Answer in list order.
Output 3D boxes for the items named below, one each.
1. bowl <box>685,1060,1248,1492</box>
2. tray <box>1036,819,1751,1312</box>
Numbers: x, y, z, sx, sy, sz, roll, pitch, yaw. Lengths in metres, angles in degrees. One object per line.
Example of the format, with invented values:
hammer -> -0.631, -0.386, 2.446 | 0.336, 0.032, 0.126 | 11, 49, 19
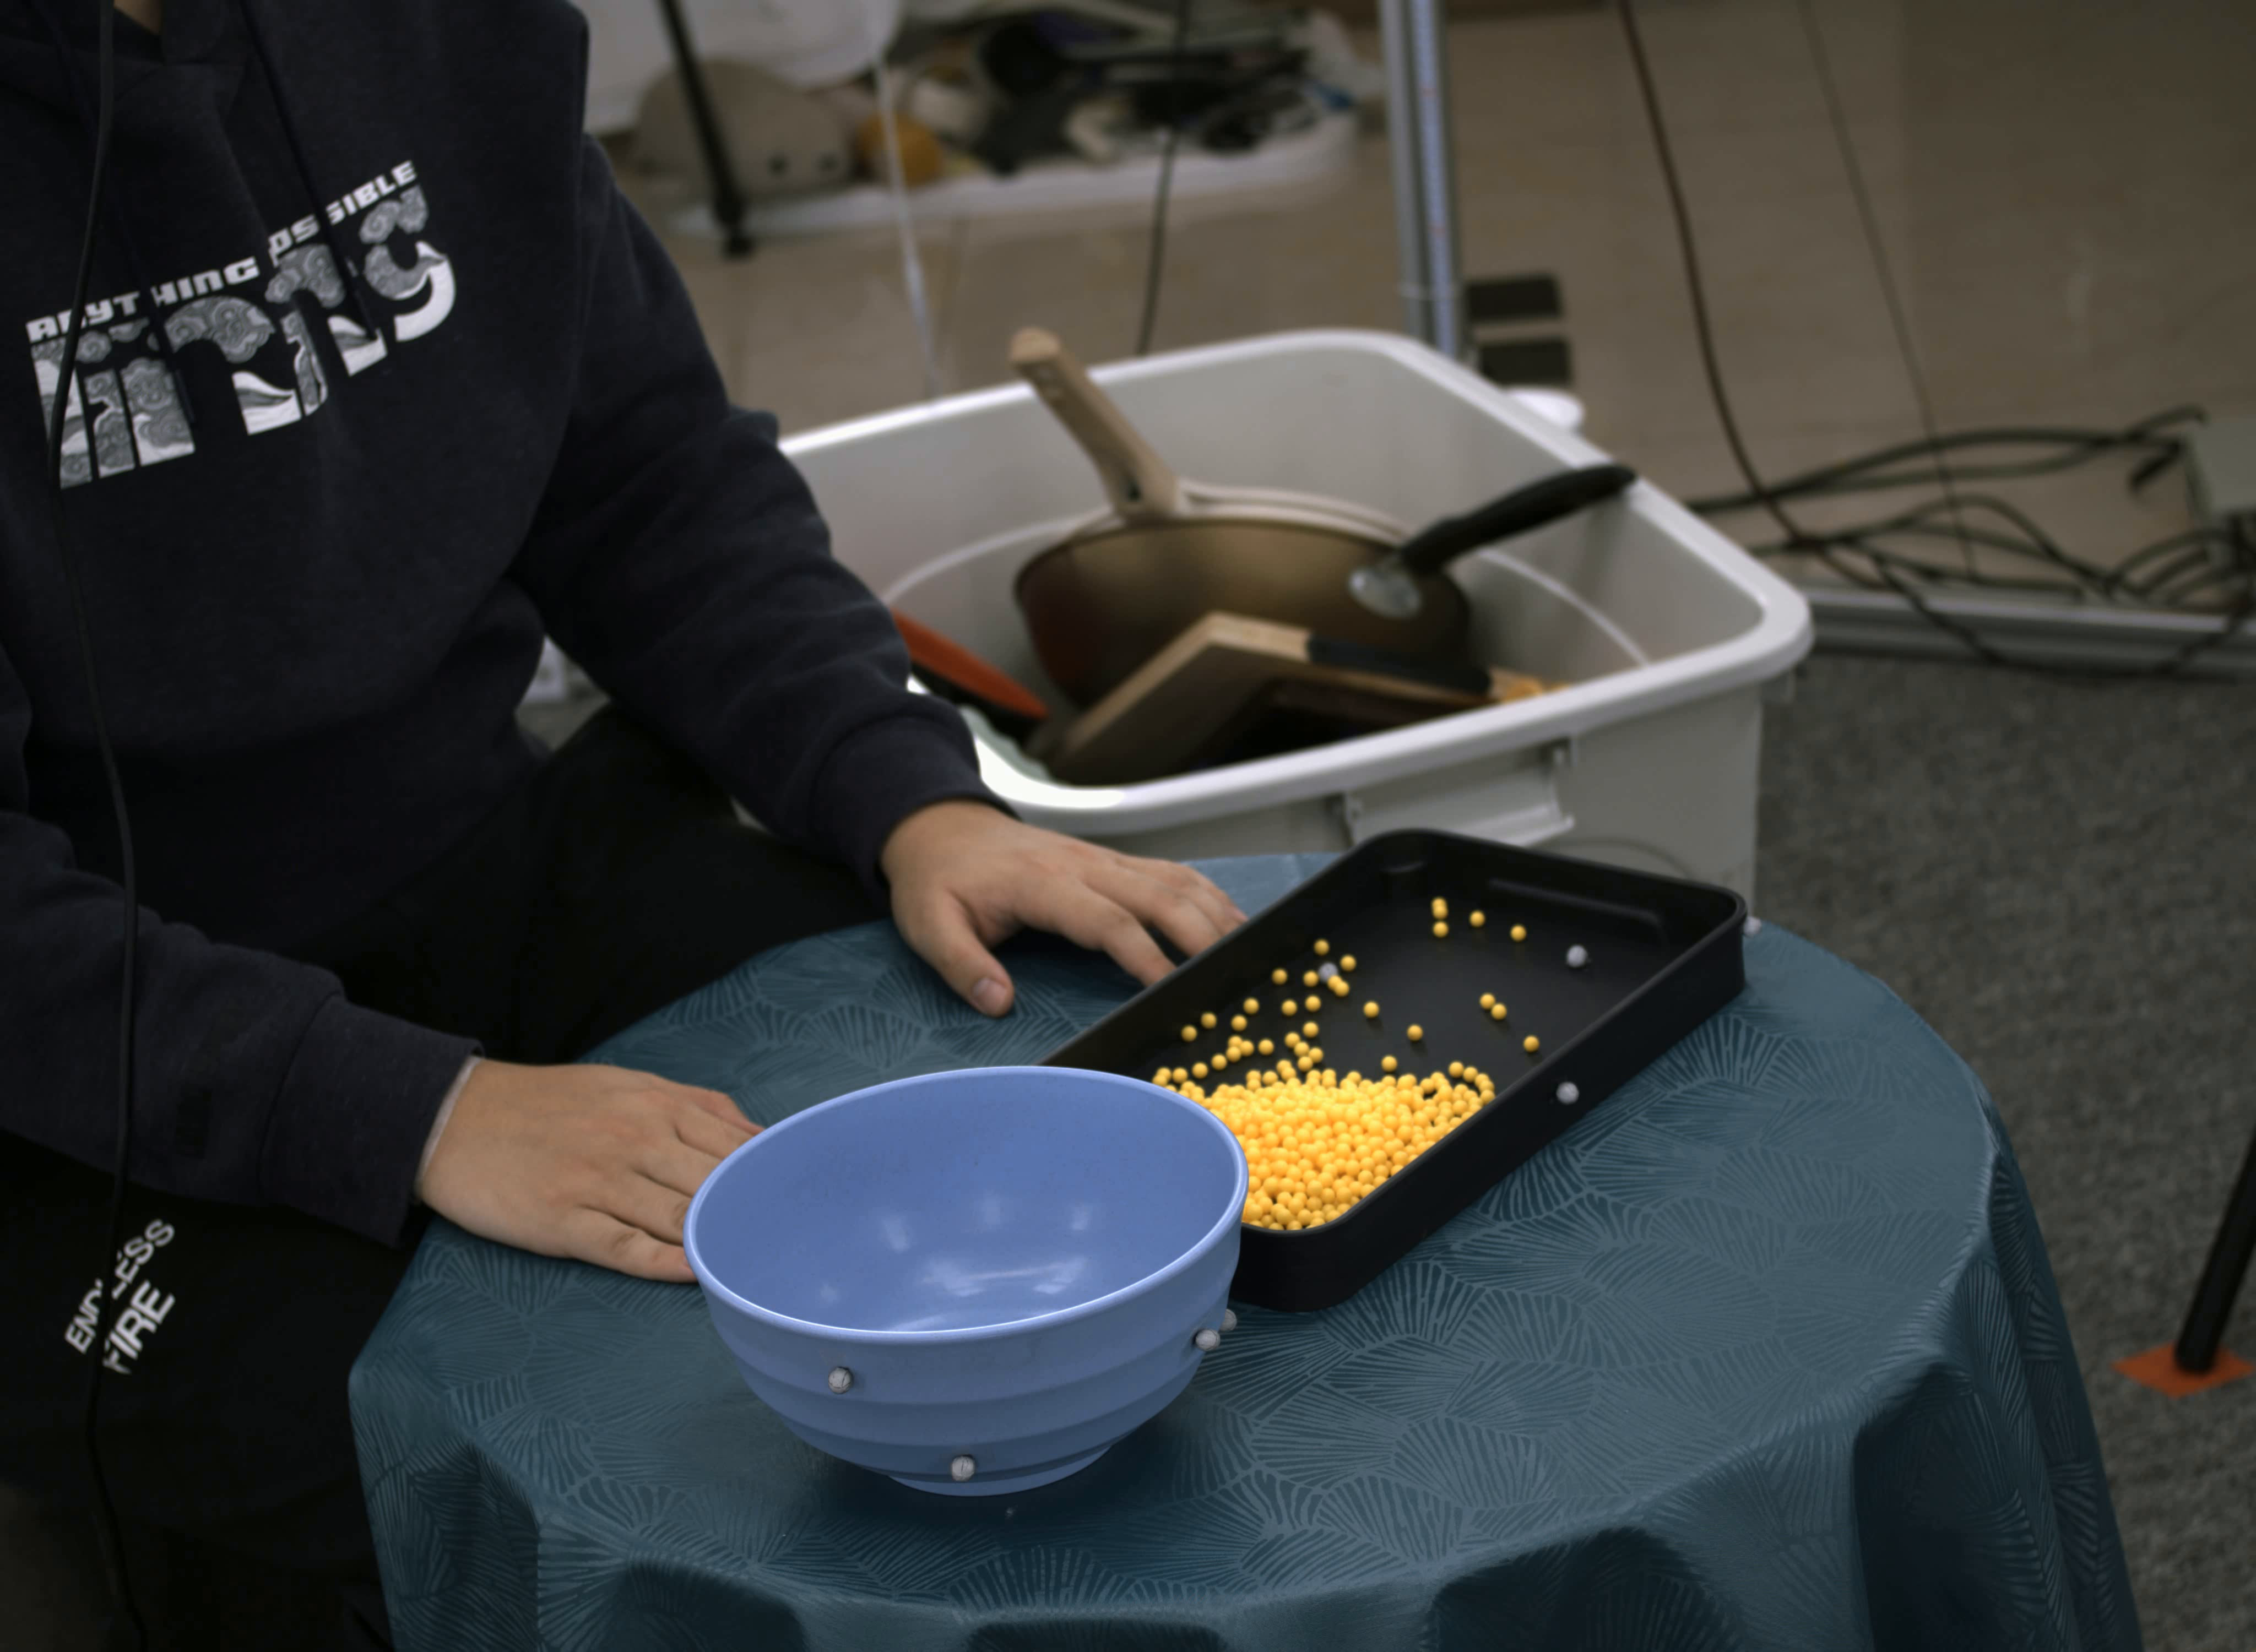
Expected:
bowl -> -0.051, 0.168, 1.980 | 0.196, 0.097, 0.193 | -5, 26, 3
tray -> 0.093, 0.087, 2.199 | 0.183, 0.037, 0.314 | 11, 31, 35
